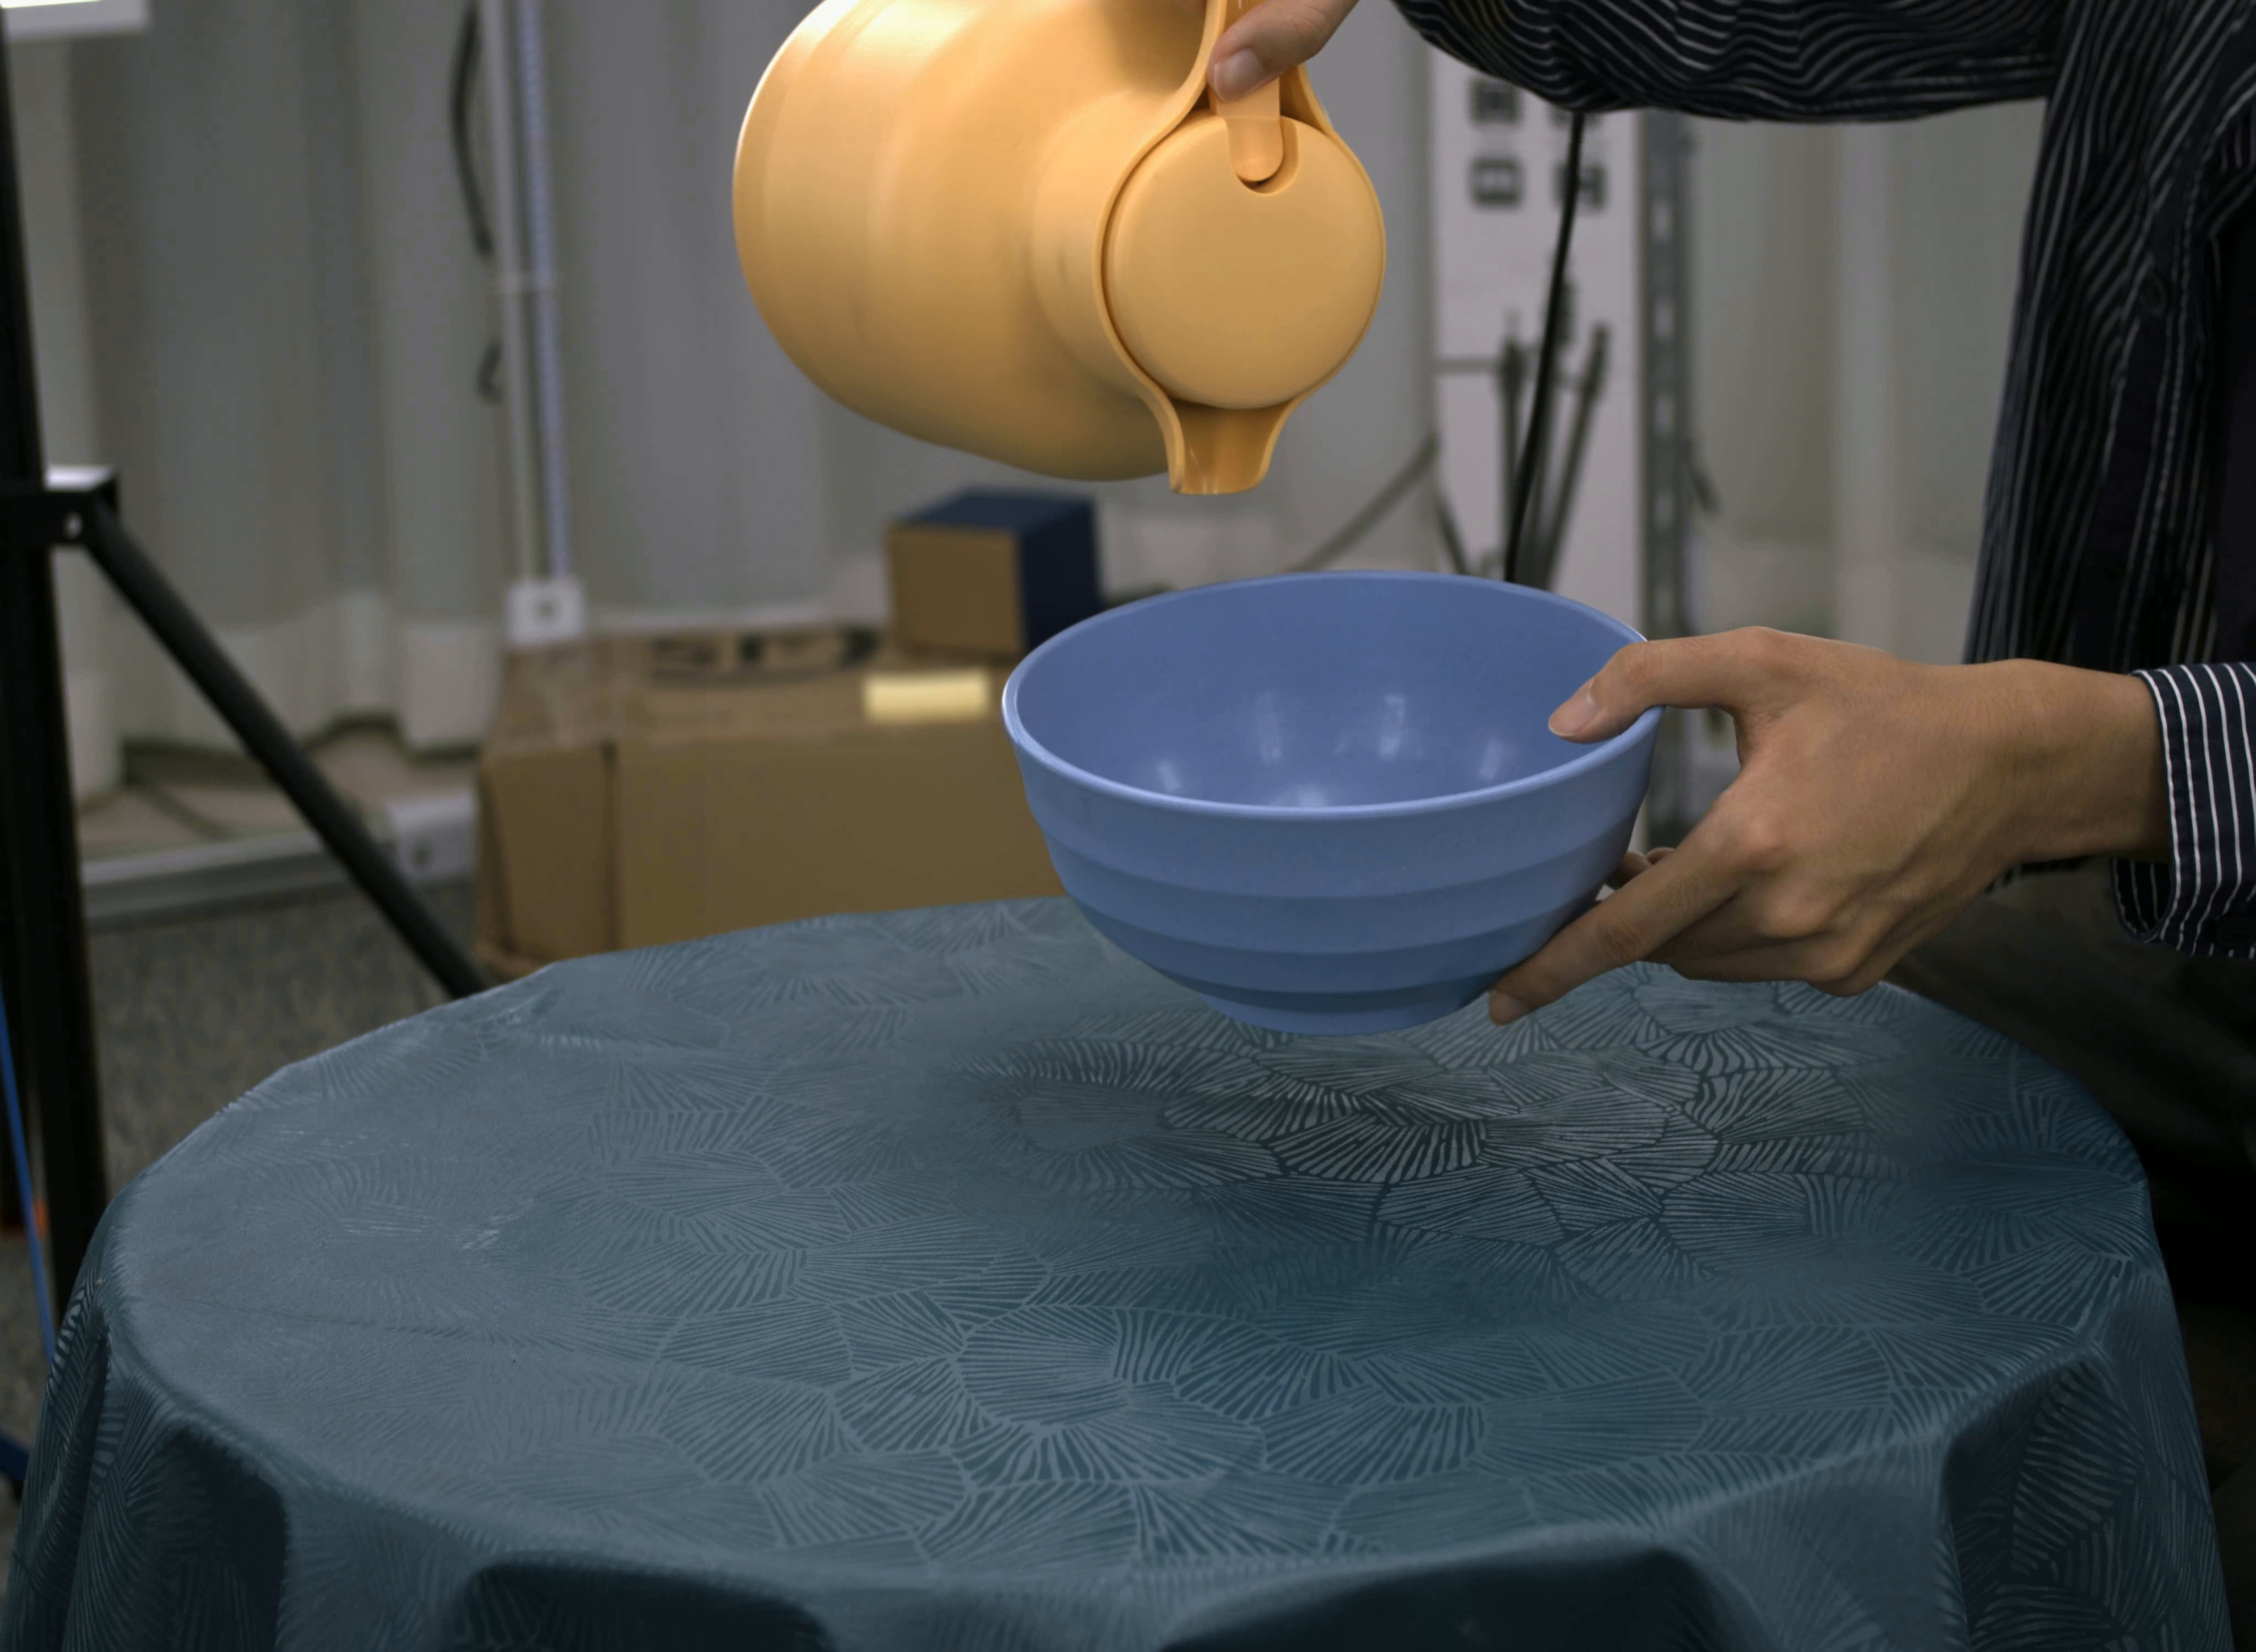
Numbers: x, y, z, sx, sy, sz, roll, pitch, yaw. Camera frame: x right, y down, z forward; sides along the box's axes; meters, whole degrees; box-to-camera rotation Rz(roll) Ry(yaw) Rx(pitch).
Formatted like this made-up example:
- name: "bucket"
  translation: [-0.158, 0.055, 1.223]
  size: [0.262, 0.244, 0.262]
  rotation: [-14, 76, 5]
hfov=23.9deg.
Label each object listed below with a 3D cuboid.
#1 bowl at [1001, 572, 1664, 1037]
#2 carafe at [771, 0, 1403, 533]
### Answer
- name: "bowl"
  translation: [0.062, 0.001, 1.584]
  size: [0.195, 0.095, 0.198]
  rotation: [-4, 22, 0]
- name: "carafe"
  translation: [-0.002, -0.200, 1.691]
  size: [0.160, 0.203, 0.265]
  rotation: [0, 11, -23]
